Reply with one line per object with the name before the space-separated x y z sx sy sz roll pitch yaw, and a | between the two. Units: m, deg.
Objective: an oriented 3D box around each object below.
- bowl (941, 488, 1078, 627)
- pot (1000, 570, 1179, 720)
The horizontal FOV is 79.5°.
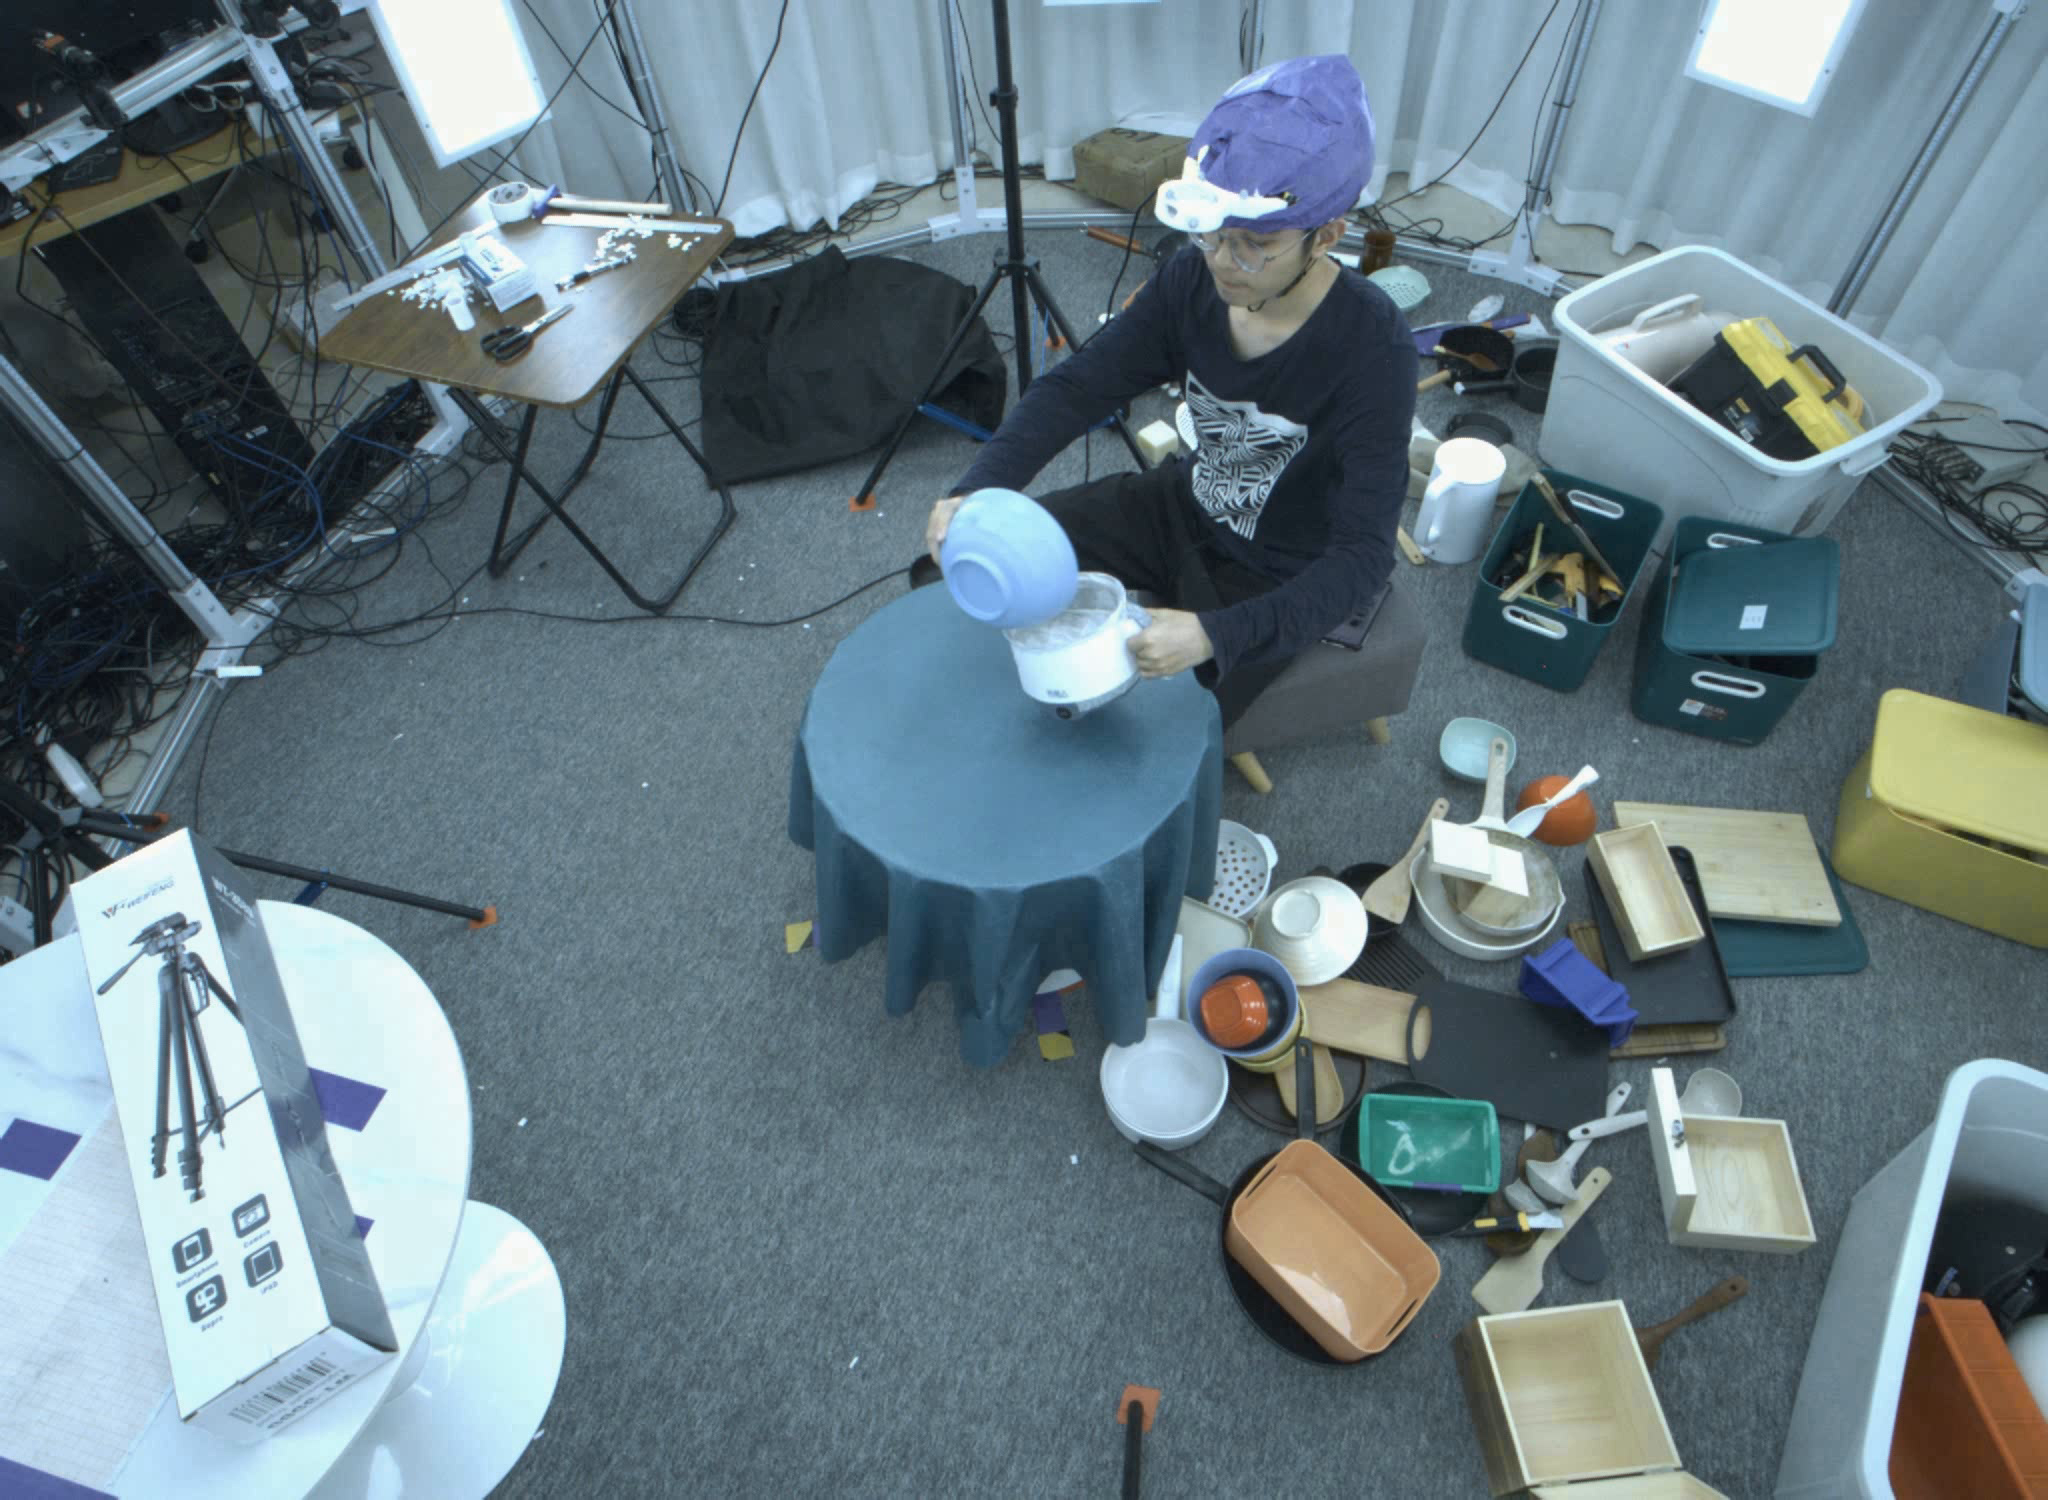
bowl | -0.037 -0.235 1.606 0.193 0.198 0.096 27 56 20
pot | 0.096 -0.148 1.719 0.230 0.139 0.178 -1 45 27
